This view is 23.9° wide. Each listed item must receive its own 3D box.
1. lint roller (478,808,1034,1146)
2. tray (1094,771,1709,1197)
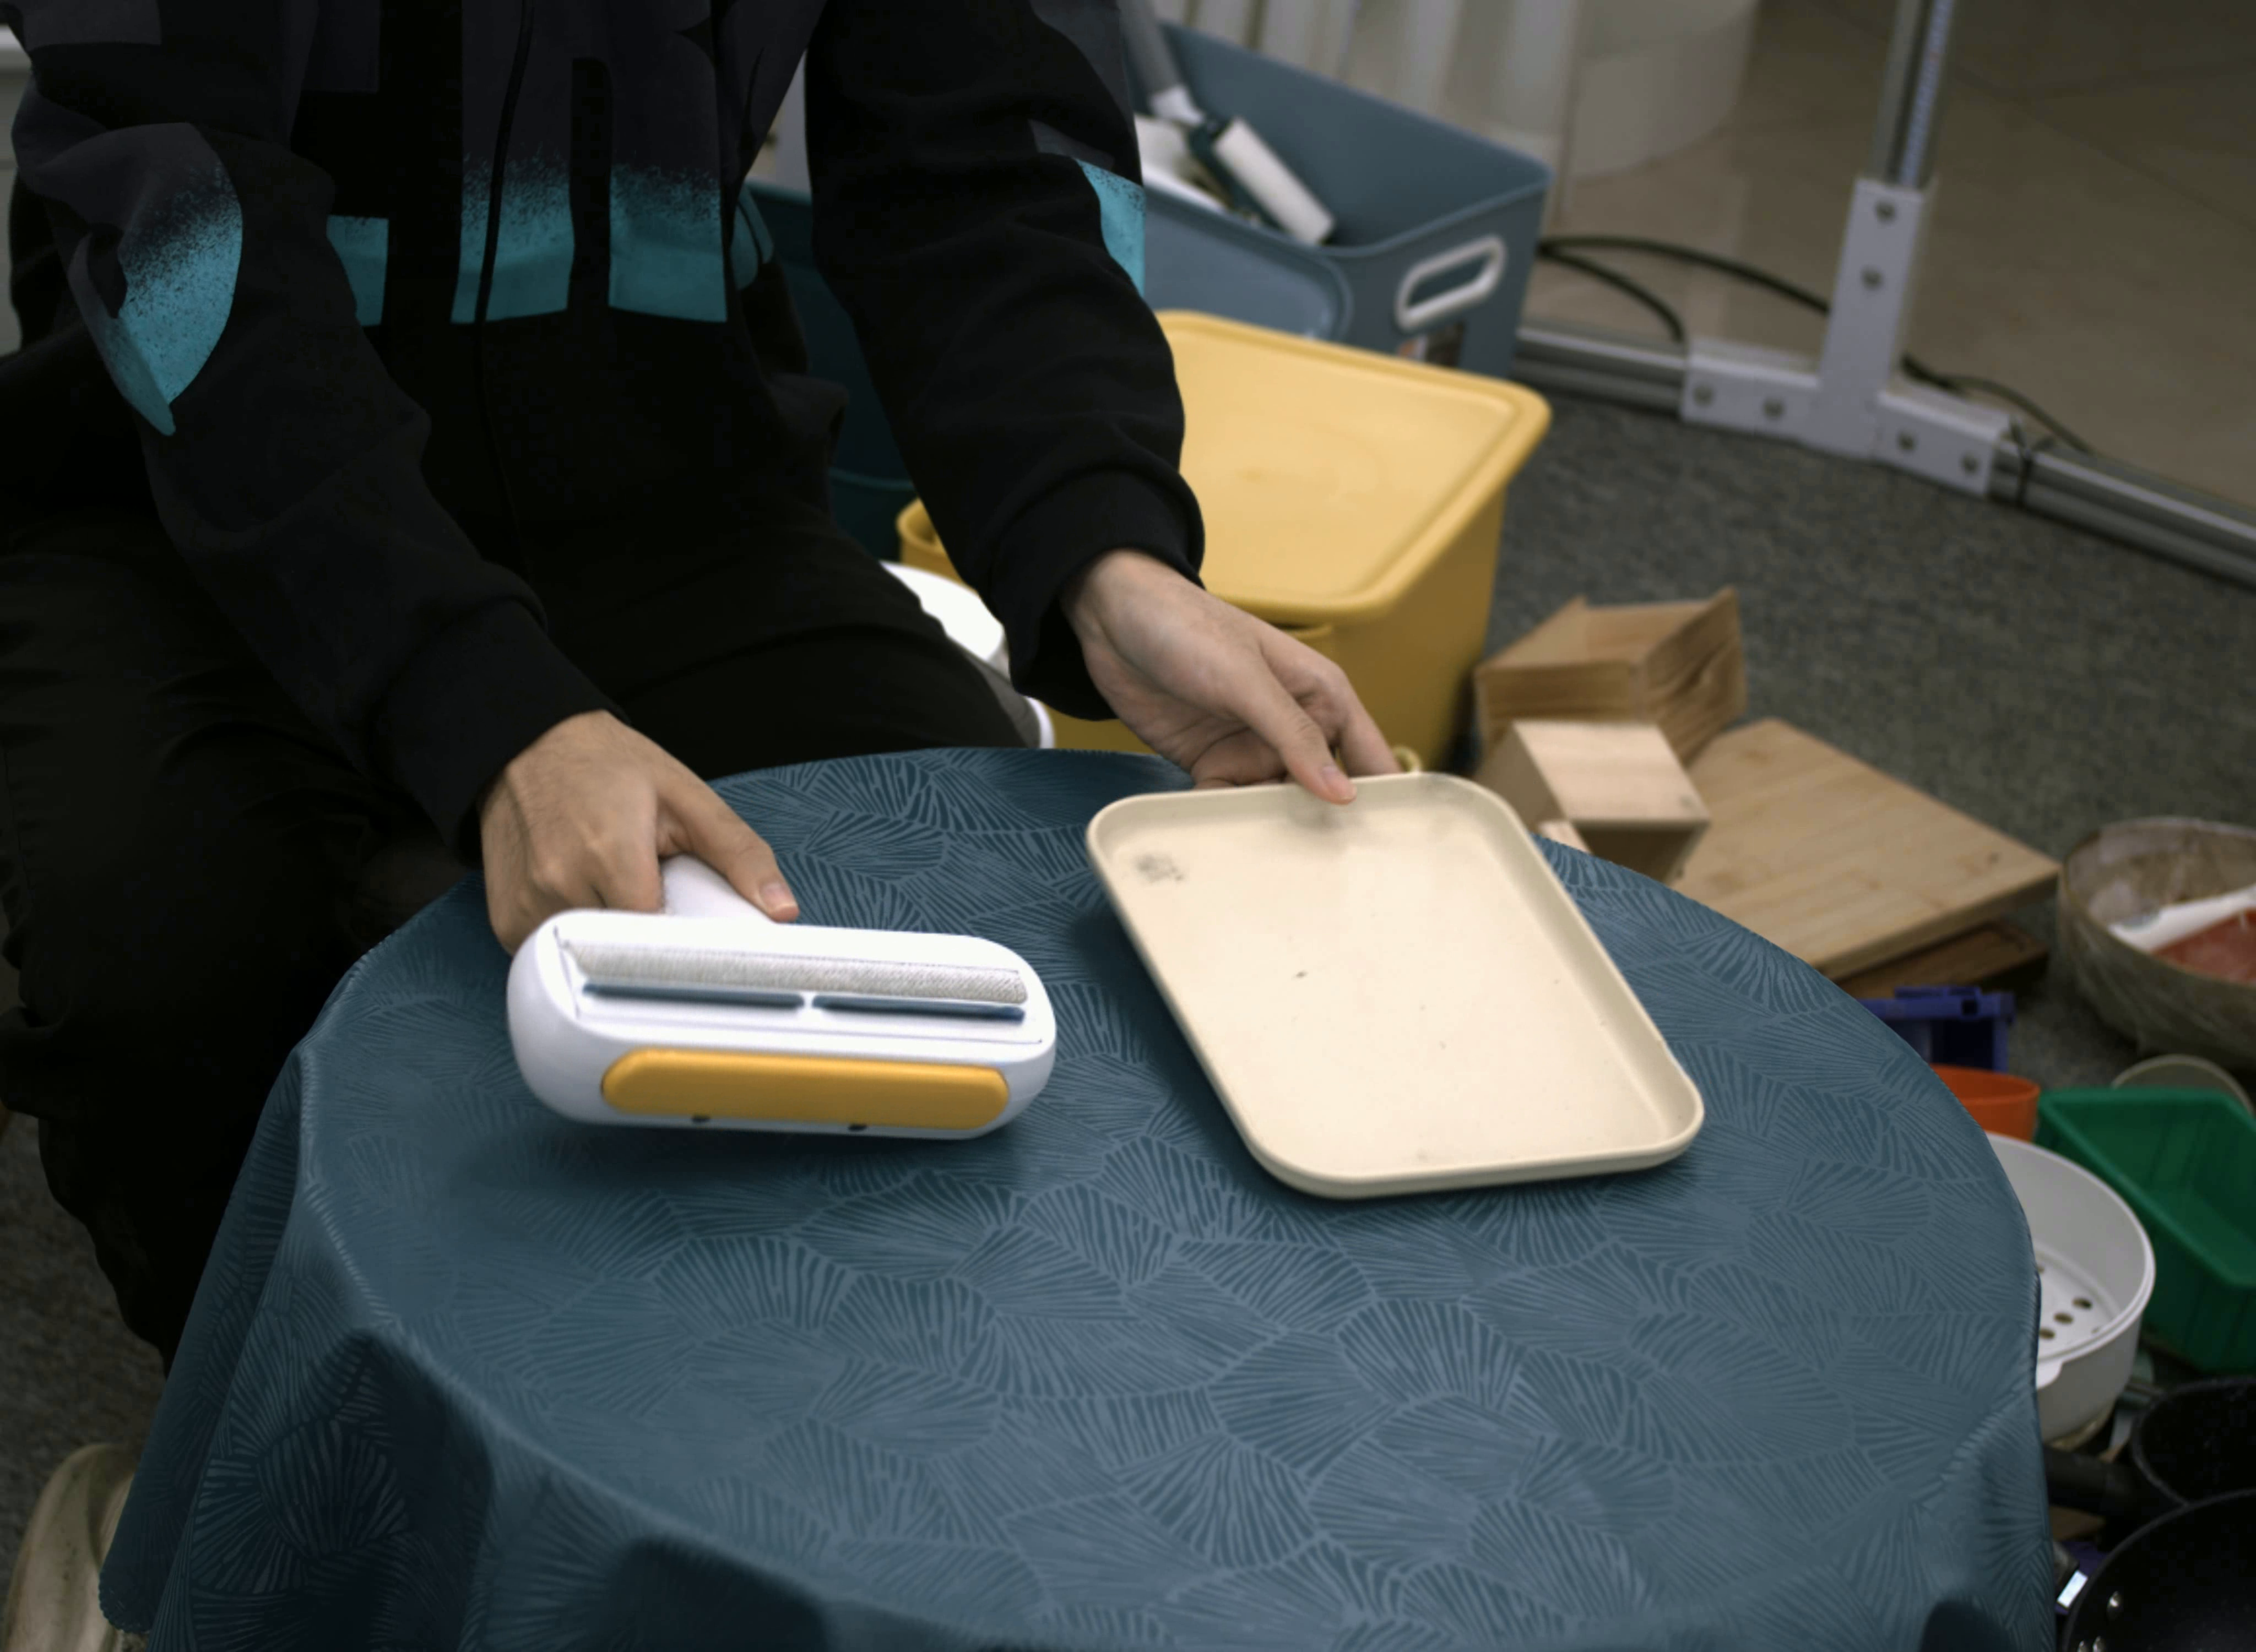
[{"bbox_3d":[-0.141,0.038,1.839,0.191,0.074,0.194,4,33,-20],"label":"lint roller"},{"bbox_3d":[0.094,0.055,1.911,0.170,0.017,0.242,-5,35,-17],"label":"tray"}]
